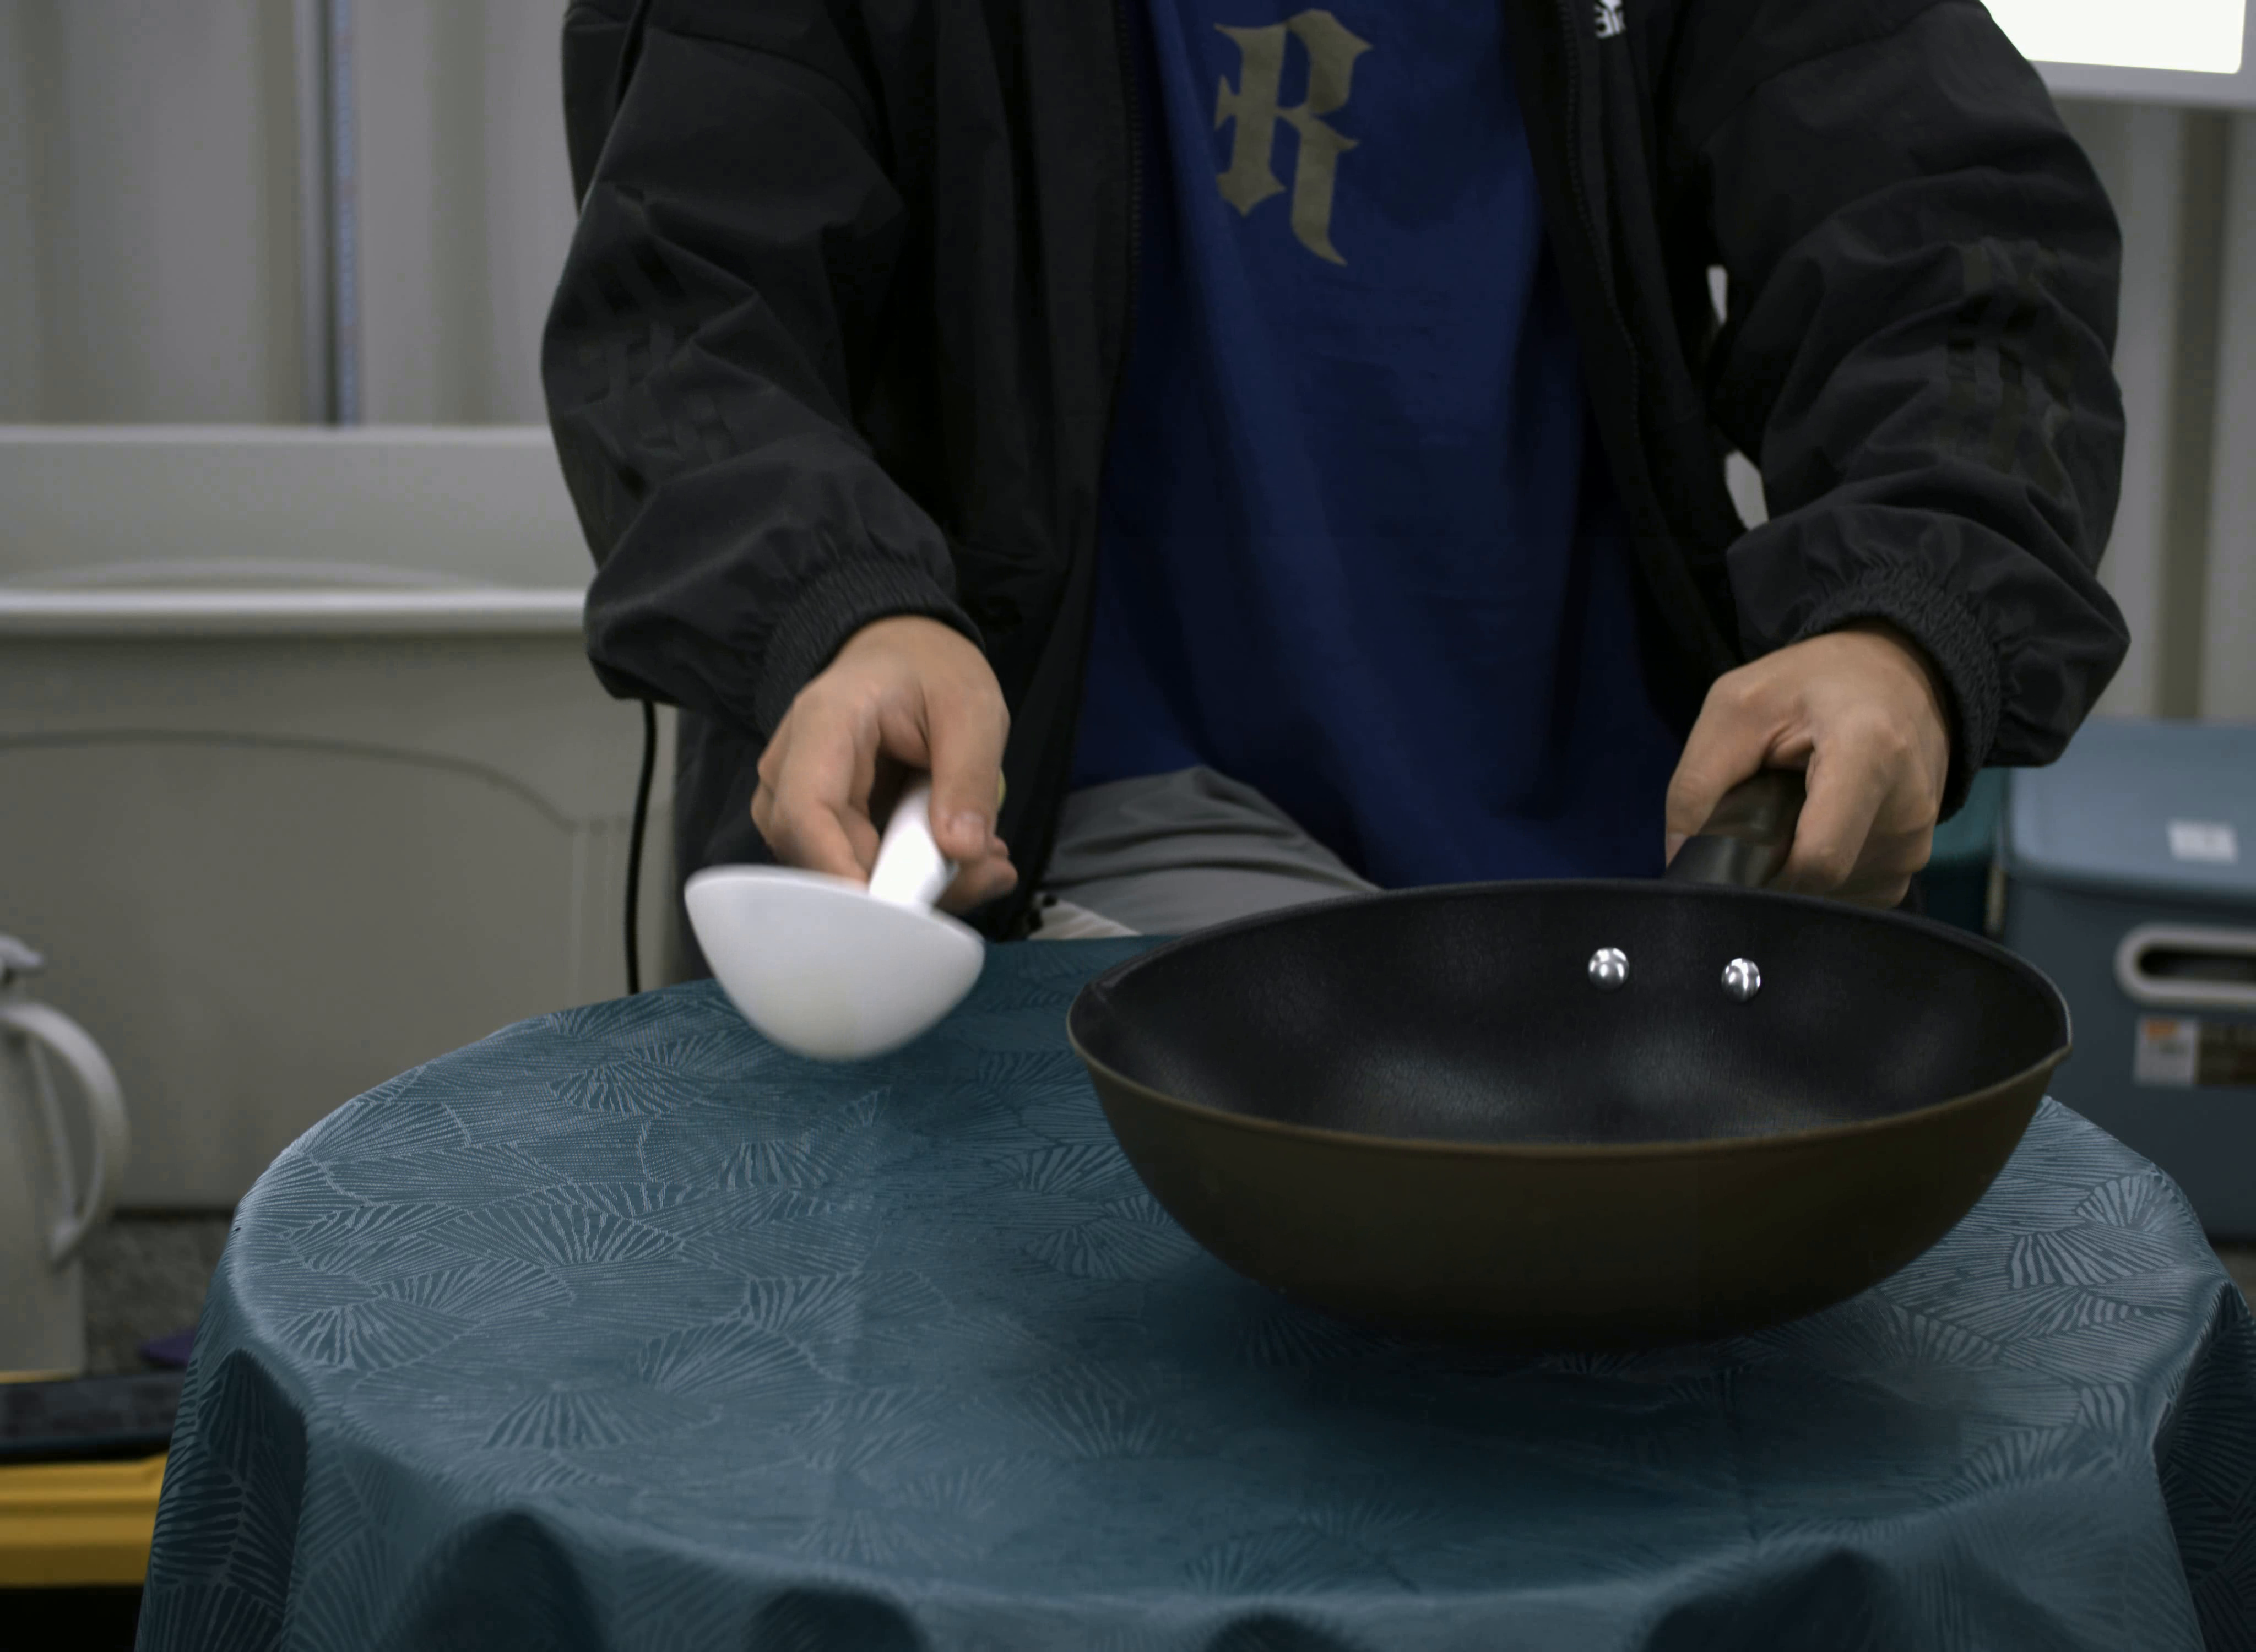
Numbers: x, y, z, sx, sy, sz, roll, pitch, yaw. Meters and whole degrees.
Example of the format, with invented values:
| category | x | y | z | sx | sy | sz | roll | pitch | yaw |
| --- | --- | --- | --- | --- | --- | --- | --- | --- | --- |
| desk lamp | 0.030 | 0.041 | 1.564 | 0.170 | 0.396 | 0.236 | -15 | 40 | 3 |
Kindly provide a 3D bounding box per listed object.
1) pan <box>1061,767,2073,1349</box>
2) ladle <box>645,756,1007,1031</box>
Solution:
| category | x | y | z | sx | sy | sz | roll | pitch | yaw |
| --- | --- | --- | --- | --- | --- | --- | --- | --- | --- |
| pan | 0.154 | 0.065 | 1.576 | 0.285 | 0.087 | 0.464 | 4 | 14 | 19 |
| ladle | -0.077 | 0.005 | 1.625 | 0.089 | 0.070 | 0.292 | 6 | 13 | 8 |
